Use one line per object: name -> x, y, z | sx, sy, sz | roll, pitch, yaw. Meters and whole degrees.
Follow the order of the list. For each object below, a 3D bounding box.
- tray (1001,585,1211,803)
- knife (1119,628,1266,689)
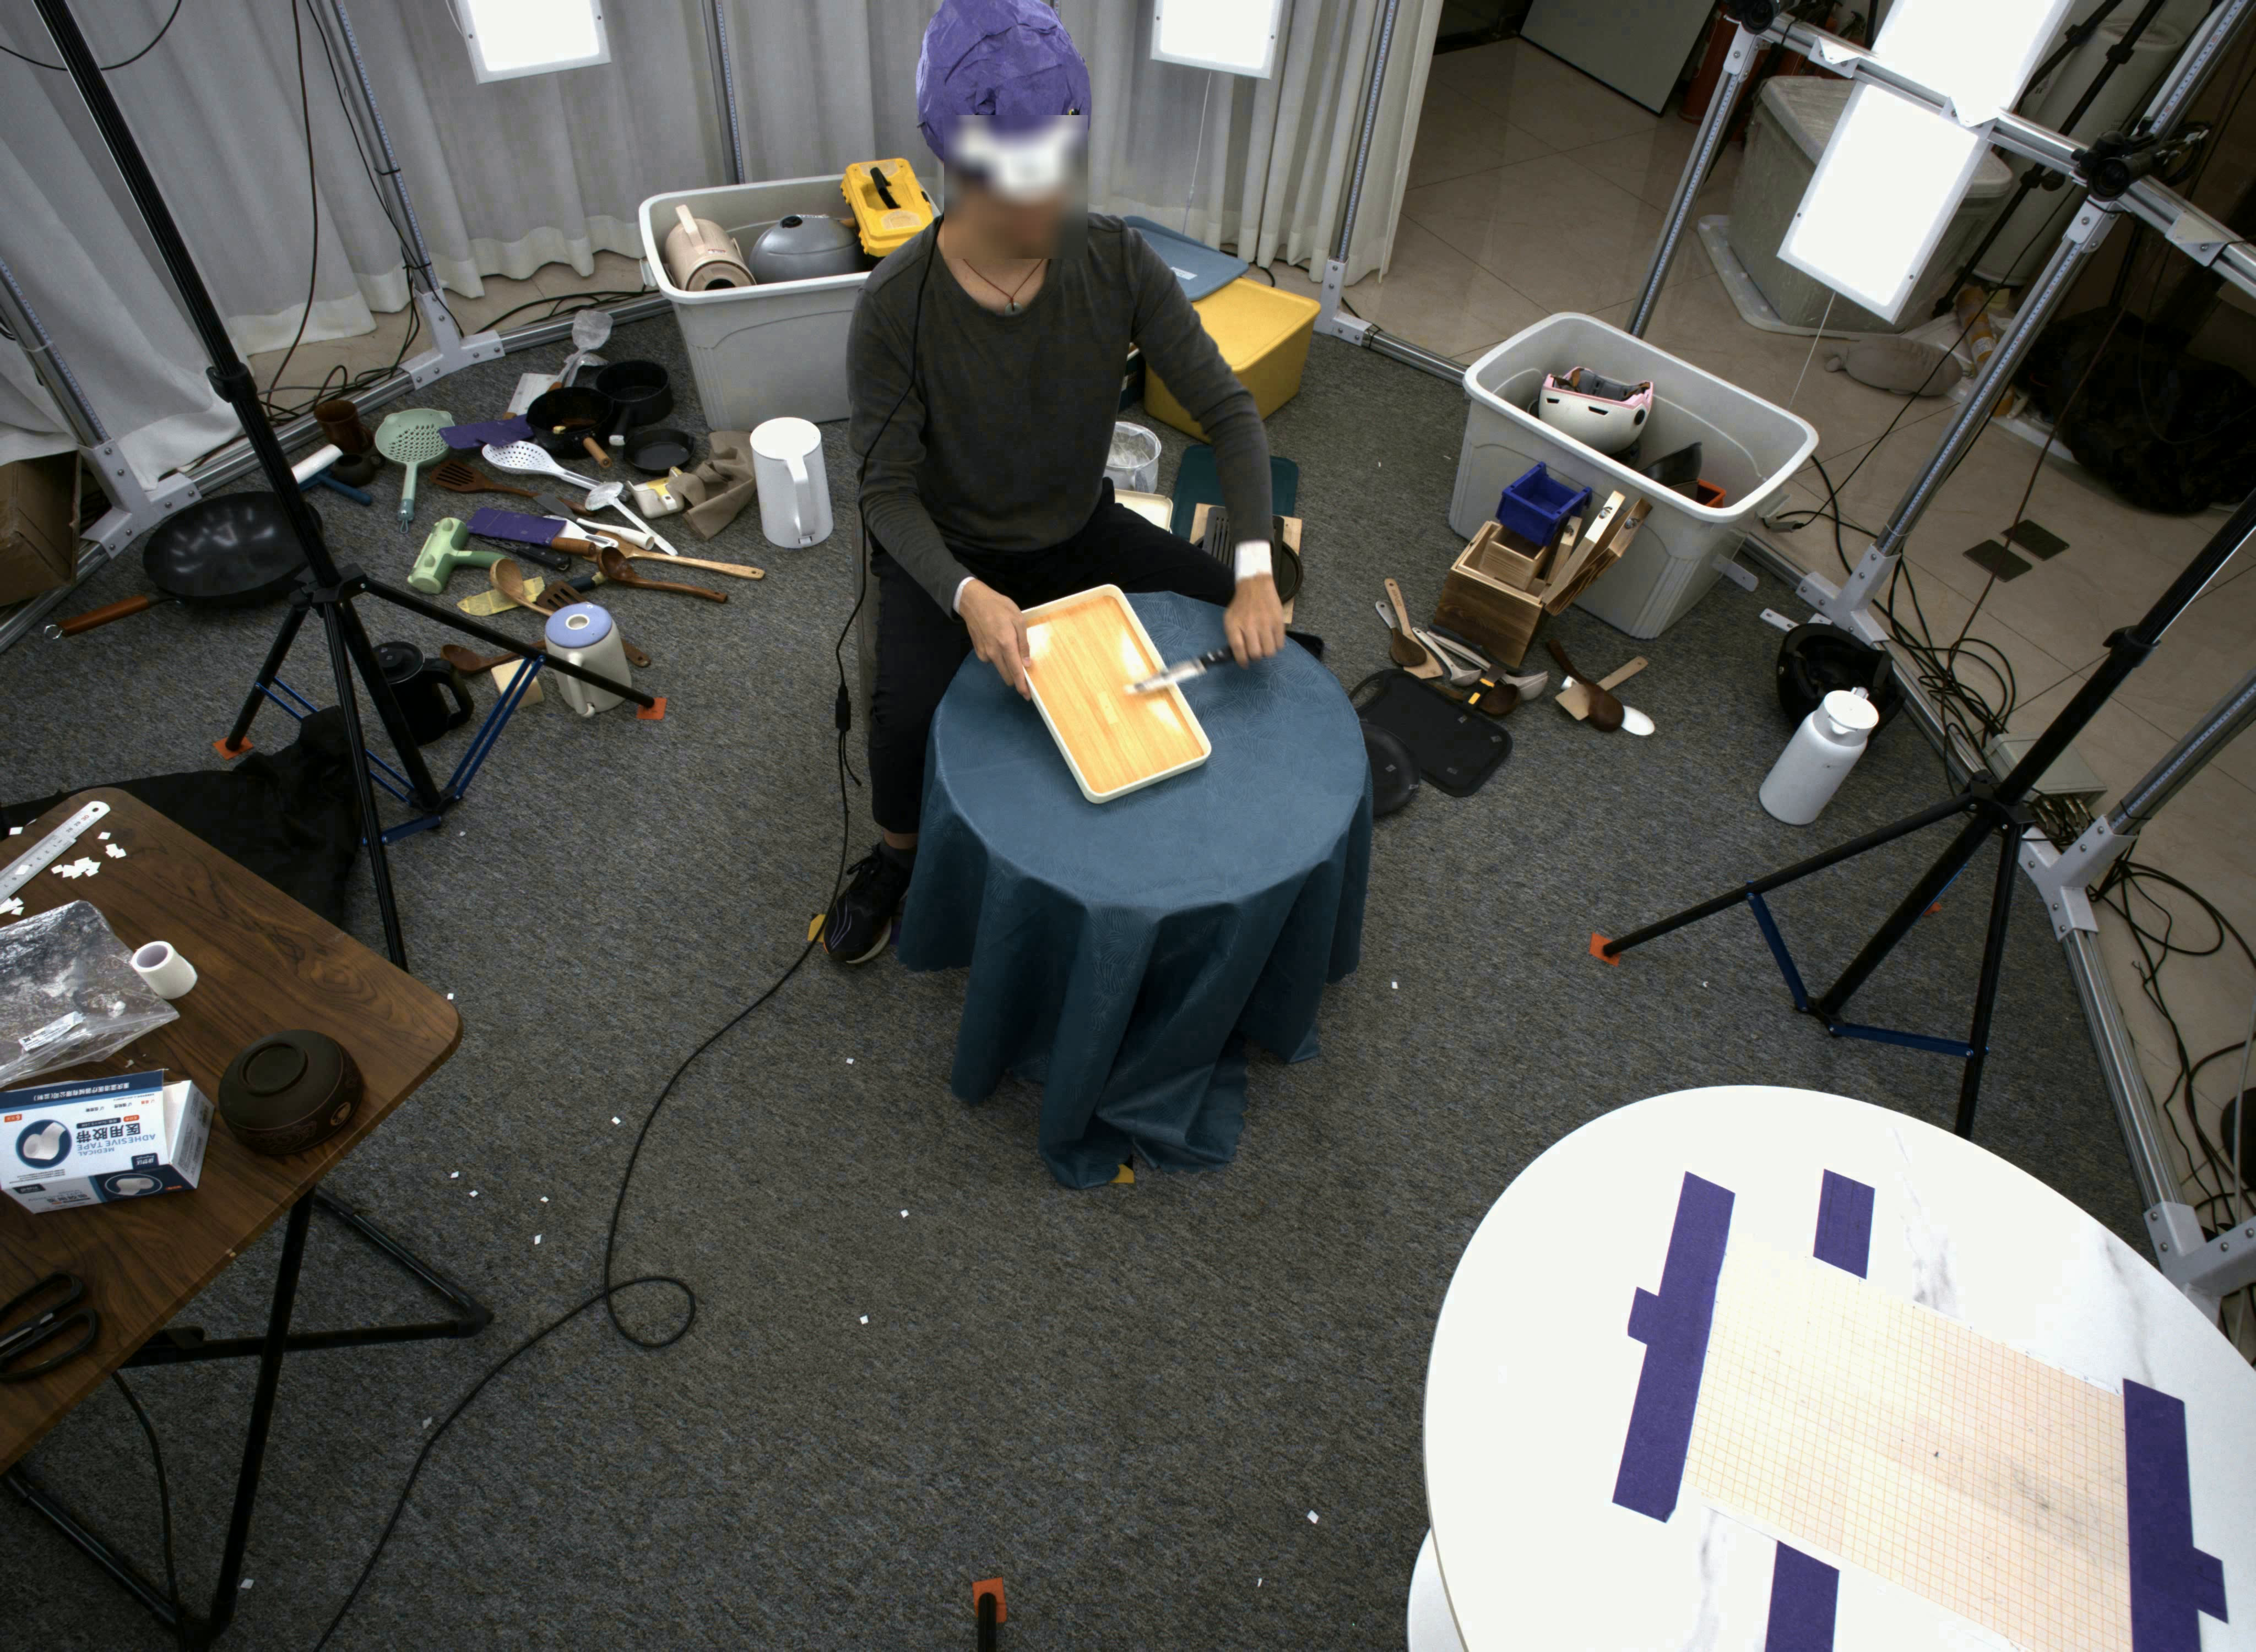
tray -> -0.032, -0.186, 1.759 | 0.192, 0.027, 0.305 | -20, 69, -21
knife -> 0.090, -0.234, 1.792 | 0.239, 0.016, 0.025 | -22, 69, -20
